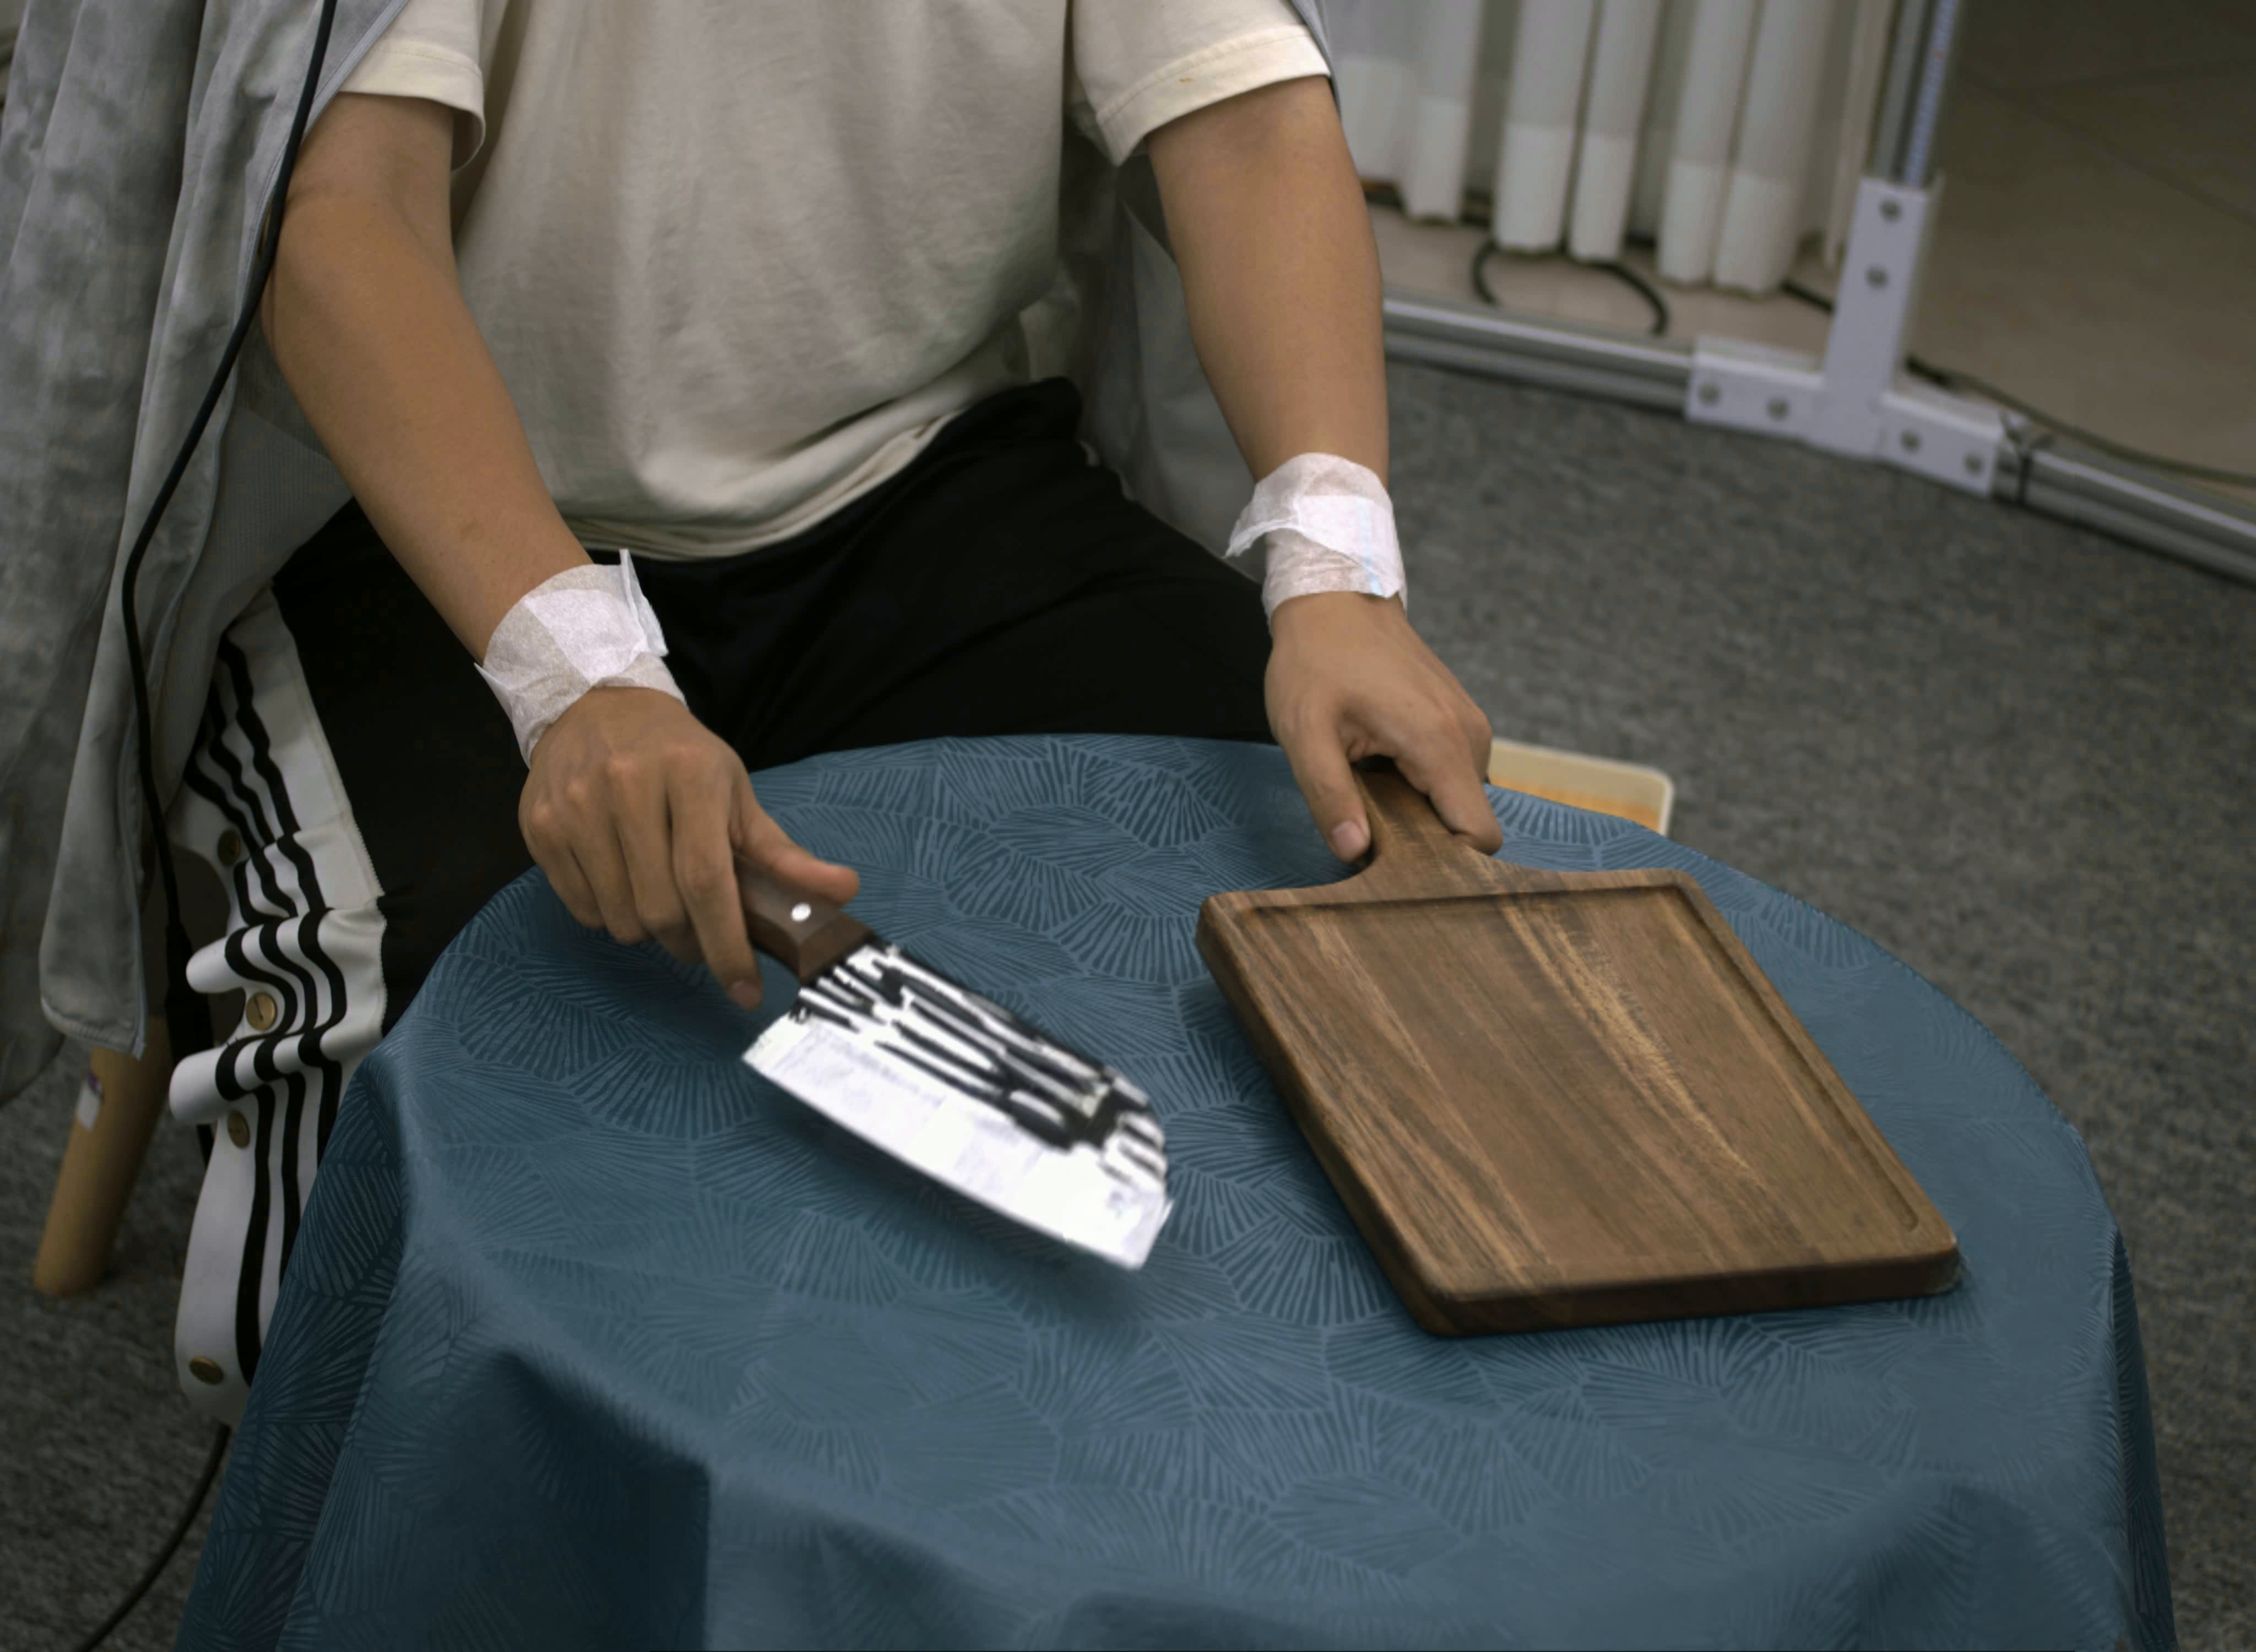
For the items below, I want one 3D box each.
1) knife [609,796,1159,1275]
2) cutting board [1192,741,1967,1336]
[{"bbox_3d":[-0.091,0.069,1.810,0.302,0.024,0.068,30,62,36],"label":"knife"},{"bbox_3d":[0.138,0.065,1.903,0.200,0.023,0.355,-3,31,-19],"label":"cutting board"}]
